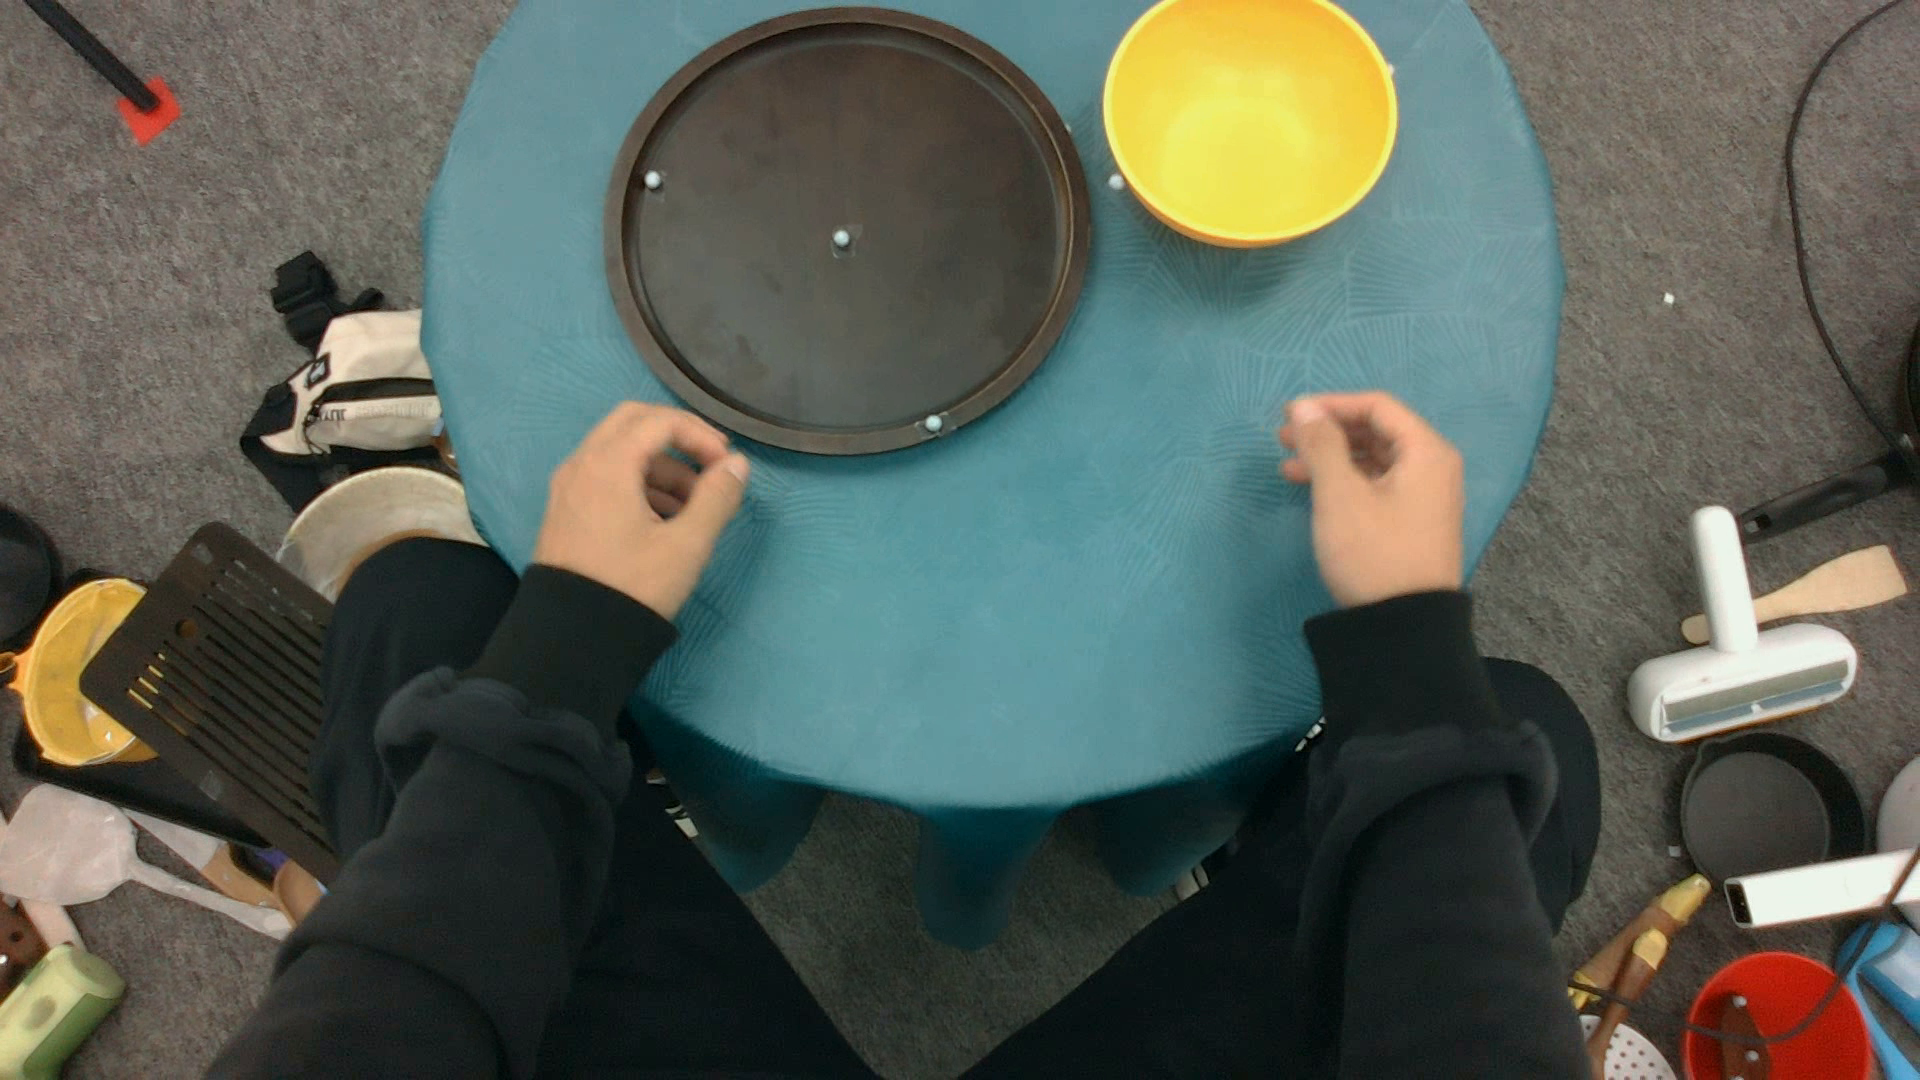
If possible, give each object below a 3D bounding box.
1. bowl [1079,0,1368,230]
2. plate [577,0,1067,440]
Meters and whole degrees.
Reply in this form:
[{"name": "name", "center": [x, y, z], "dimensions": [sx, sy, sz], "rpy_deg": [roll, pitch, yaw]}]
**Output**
[{"name": "bowl", "center": [0.133, -0.219, 0.718], "dimensions": [0.145, 0.060, 0.145], "rpy_deg": [0, 78, 1]}, {"name": "plate", "center": [-0.071, -0.171, 0.720], "dimensions": [0.255, 0.029, 0.255], "rpy_deg": [1, 76, -3]}]
